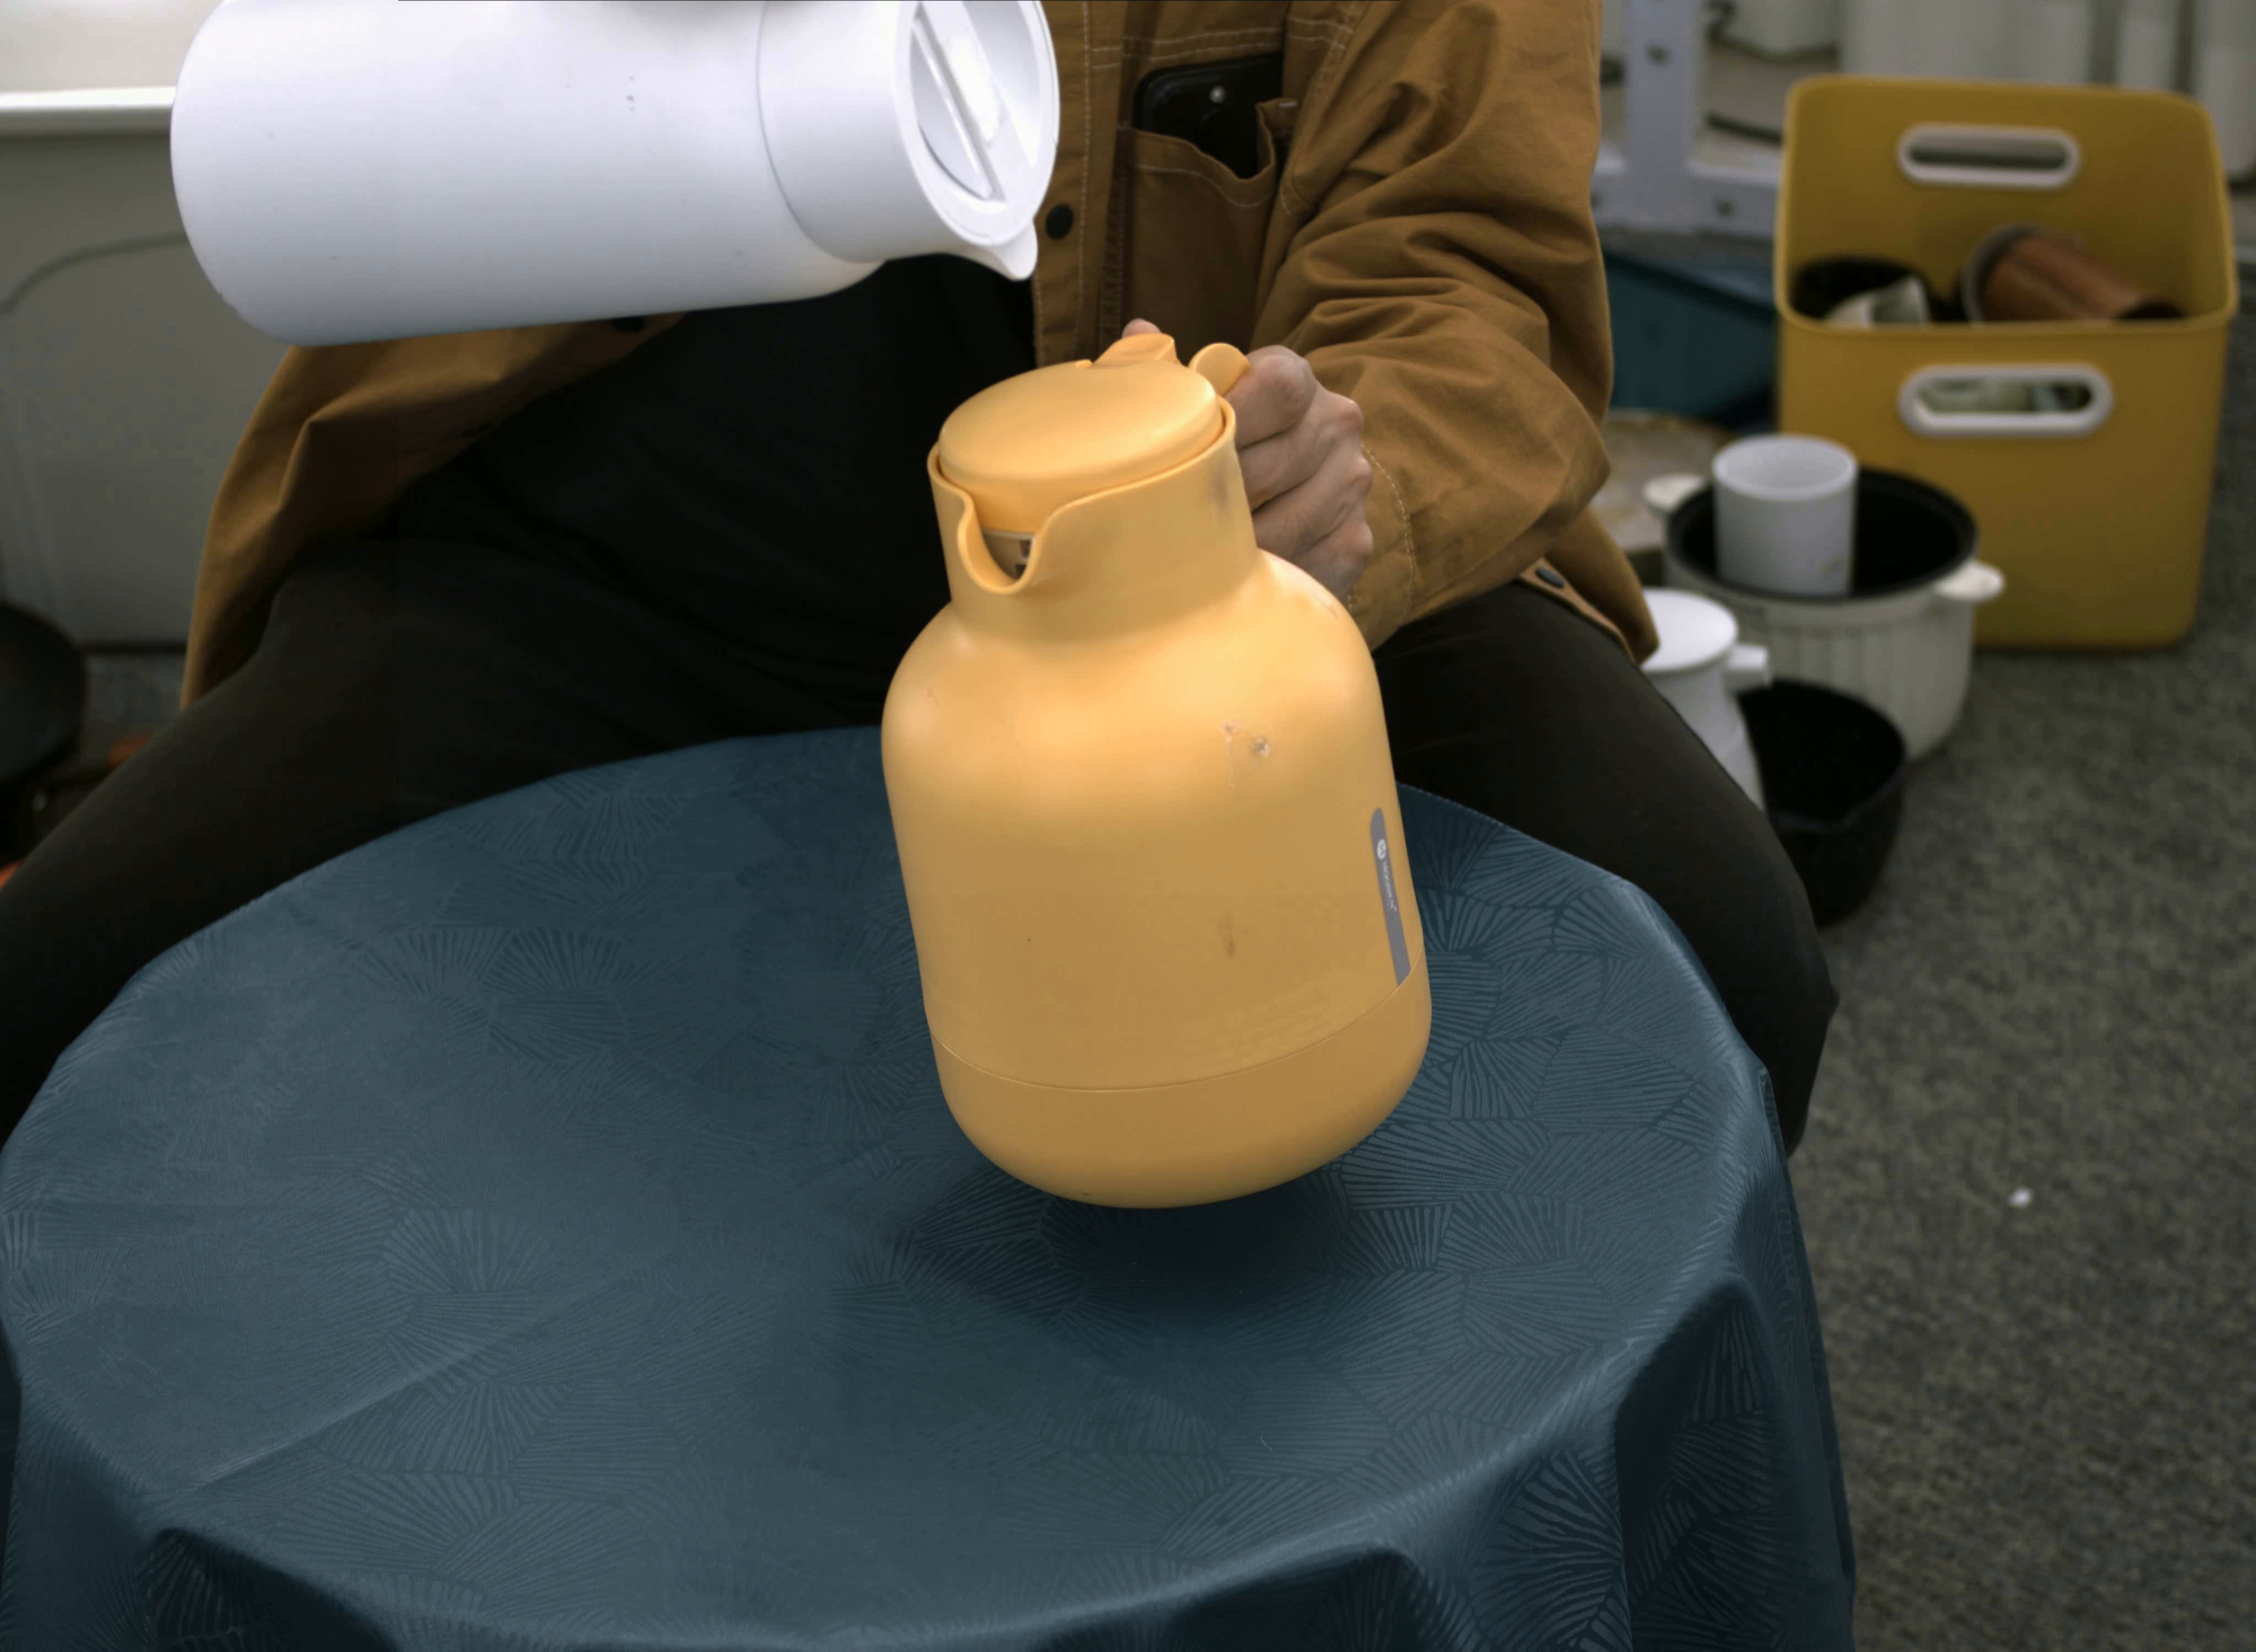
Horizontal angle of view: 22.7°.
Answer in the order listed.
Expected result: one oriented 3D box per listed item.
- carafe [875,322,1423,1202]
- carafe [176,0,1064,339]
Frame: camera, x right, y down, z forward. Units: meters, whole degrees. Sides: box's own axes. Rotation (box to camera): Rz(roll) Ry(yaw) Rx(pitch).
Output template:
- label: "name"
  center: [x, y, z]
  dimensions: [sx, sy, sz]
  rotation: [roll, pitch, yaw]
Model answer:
- label: "carafe"
  center: [0.010, -0.030, 1.803]
  dimensions: [0.162, 0.258, 0.206]
  rotation: [4, 29, 24]
- label: "carafe"
  center: [-0.164, -0.231, 1.736]
  dimensions: [0.266, 0.171, 0.126]
  rotation: [-2, 40, 30]
